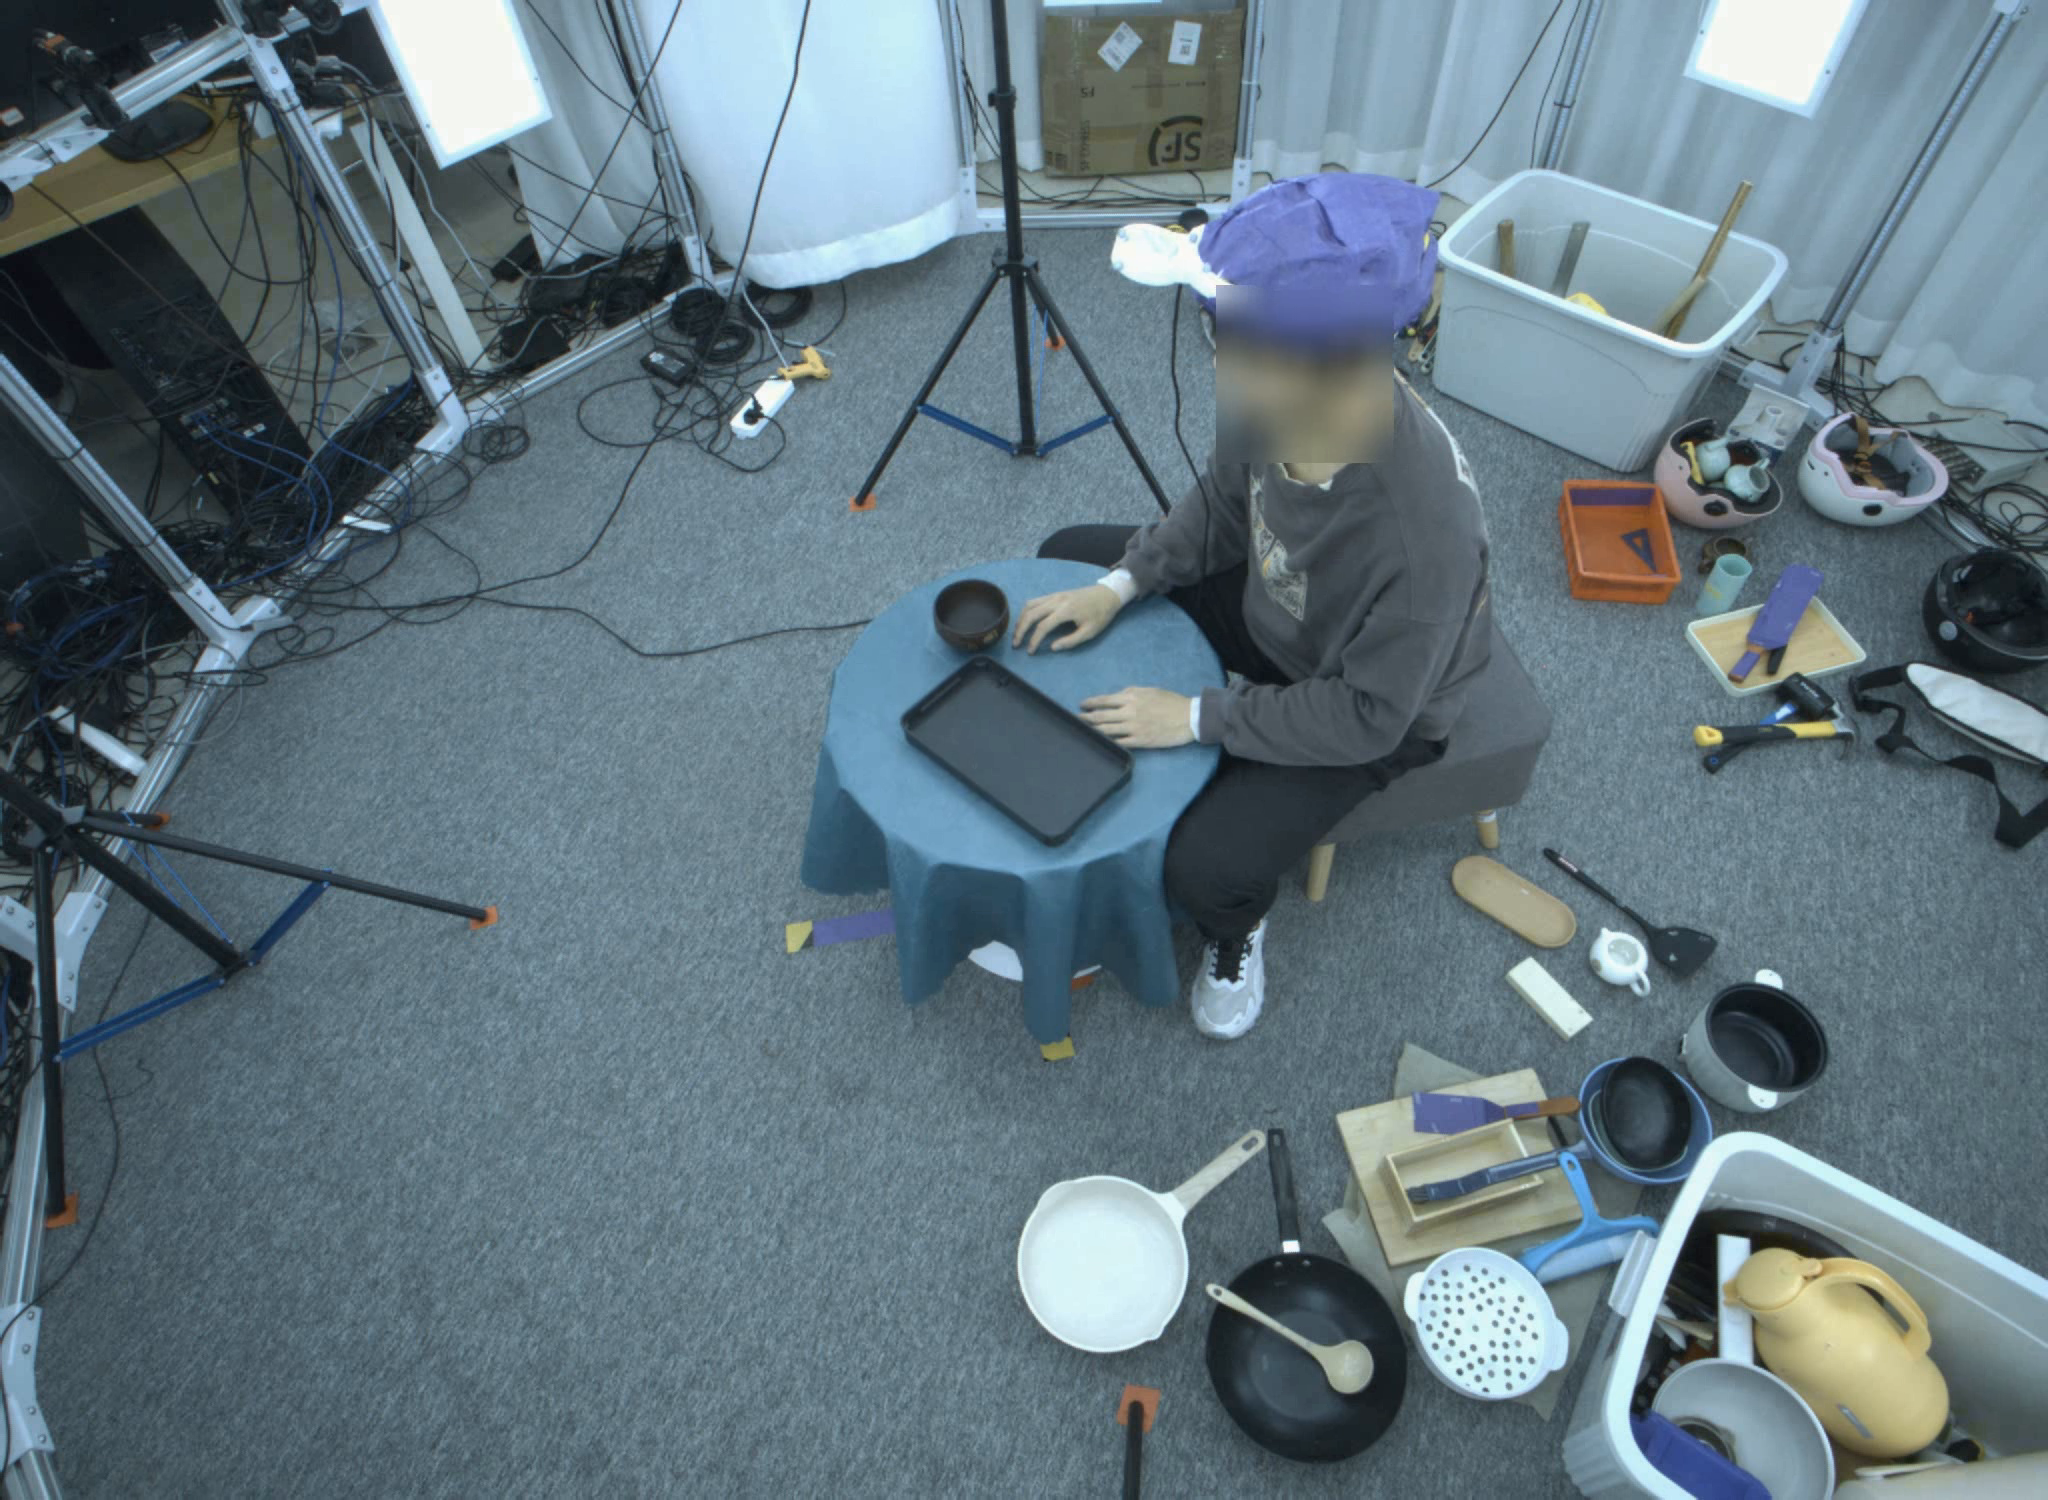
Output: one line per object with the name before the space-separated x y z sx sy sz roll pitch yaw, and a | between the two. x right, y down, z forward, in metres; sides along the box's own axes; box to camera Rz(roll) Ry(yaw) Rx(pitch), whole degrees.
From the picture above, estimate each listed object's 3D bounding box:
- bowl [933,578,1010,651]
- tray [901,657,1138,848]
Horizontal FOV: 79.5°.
bowl | -0.080 -0.200 1.887 0.118 0.070 0.117 0 54 1
tray | -0.008 -0.002 1.765 0.312 0.037 0.185 34 61 24
